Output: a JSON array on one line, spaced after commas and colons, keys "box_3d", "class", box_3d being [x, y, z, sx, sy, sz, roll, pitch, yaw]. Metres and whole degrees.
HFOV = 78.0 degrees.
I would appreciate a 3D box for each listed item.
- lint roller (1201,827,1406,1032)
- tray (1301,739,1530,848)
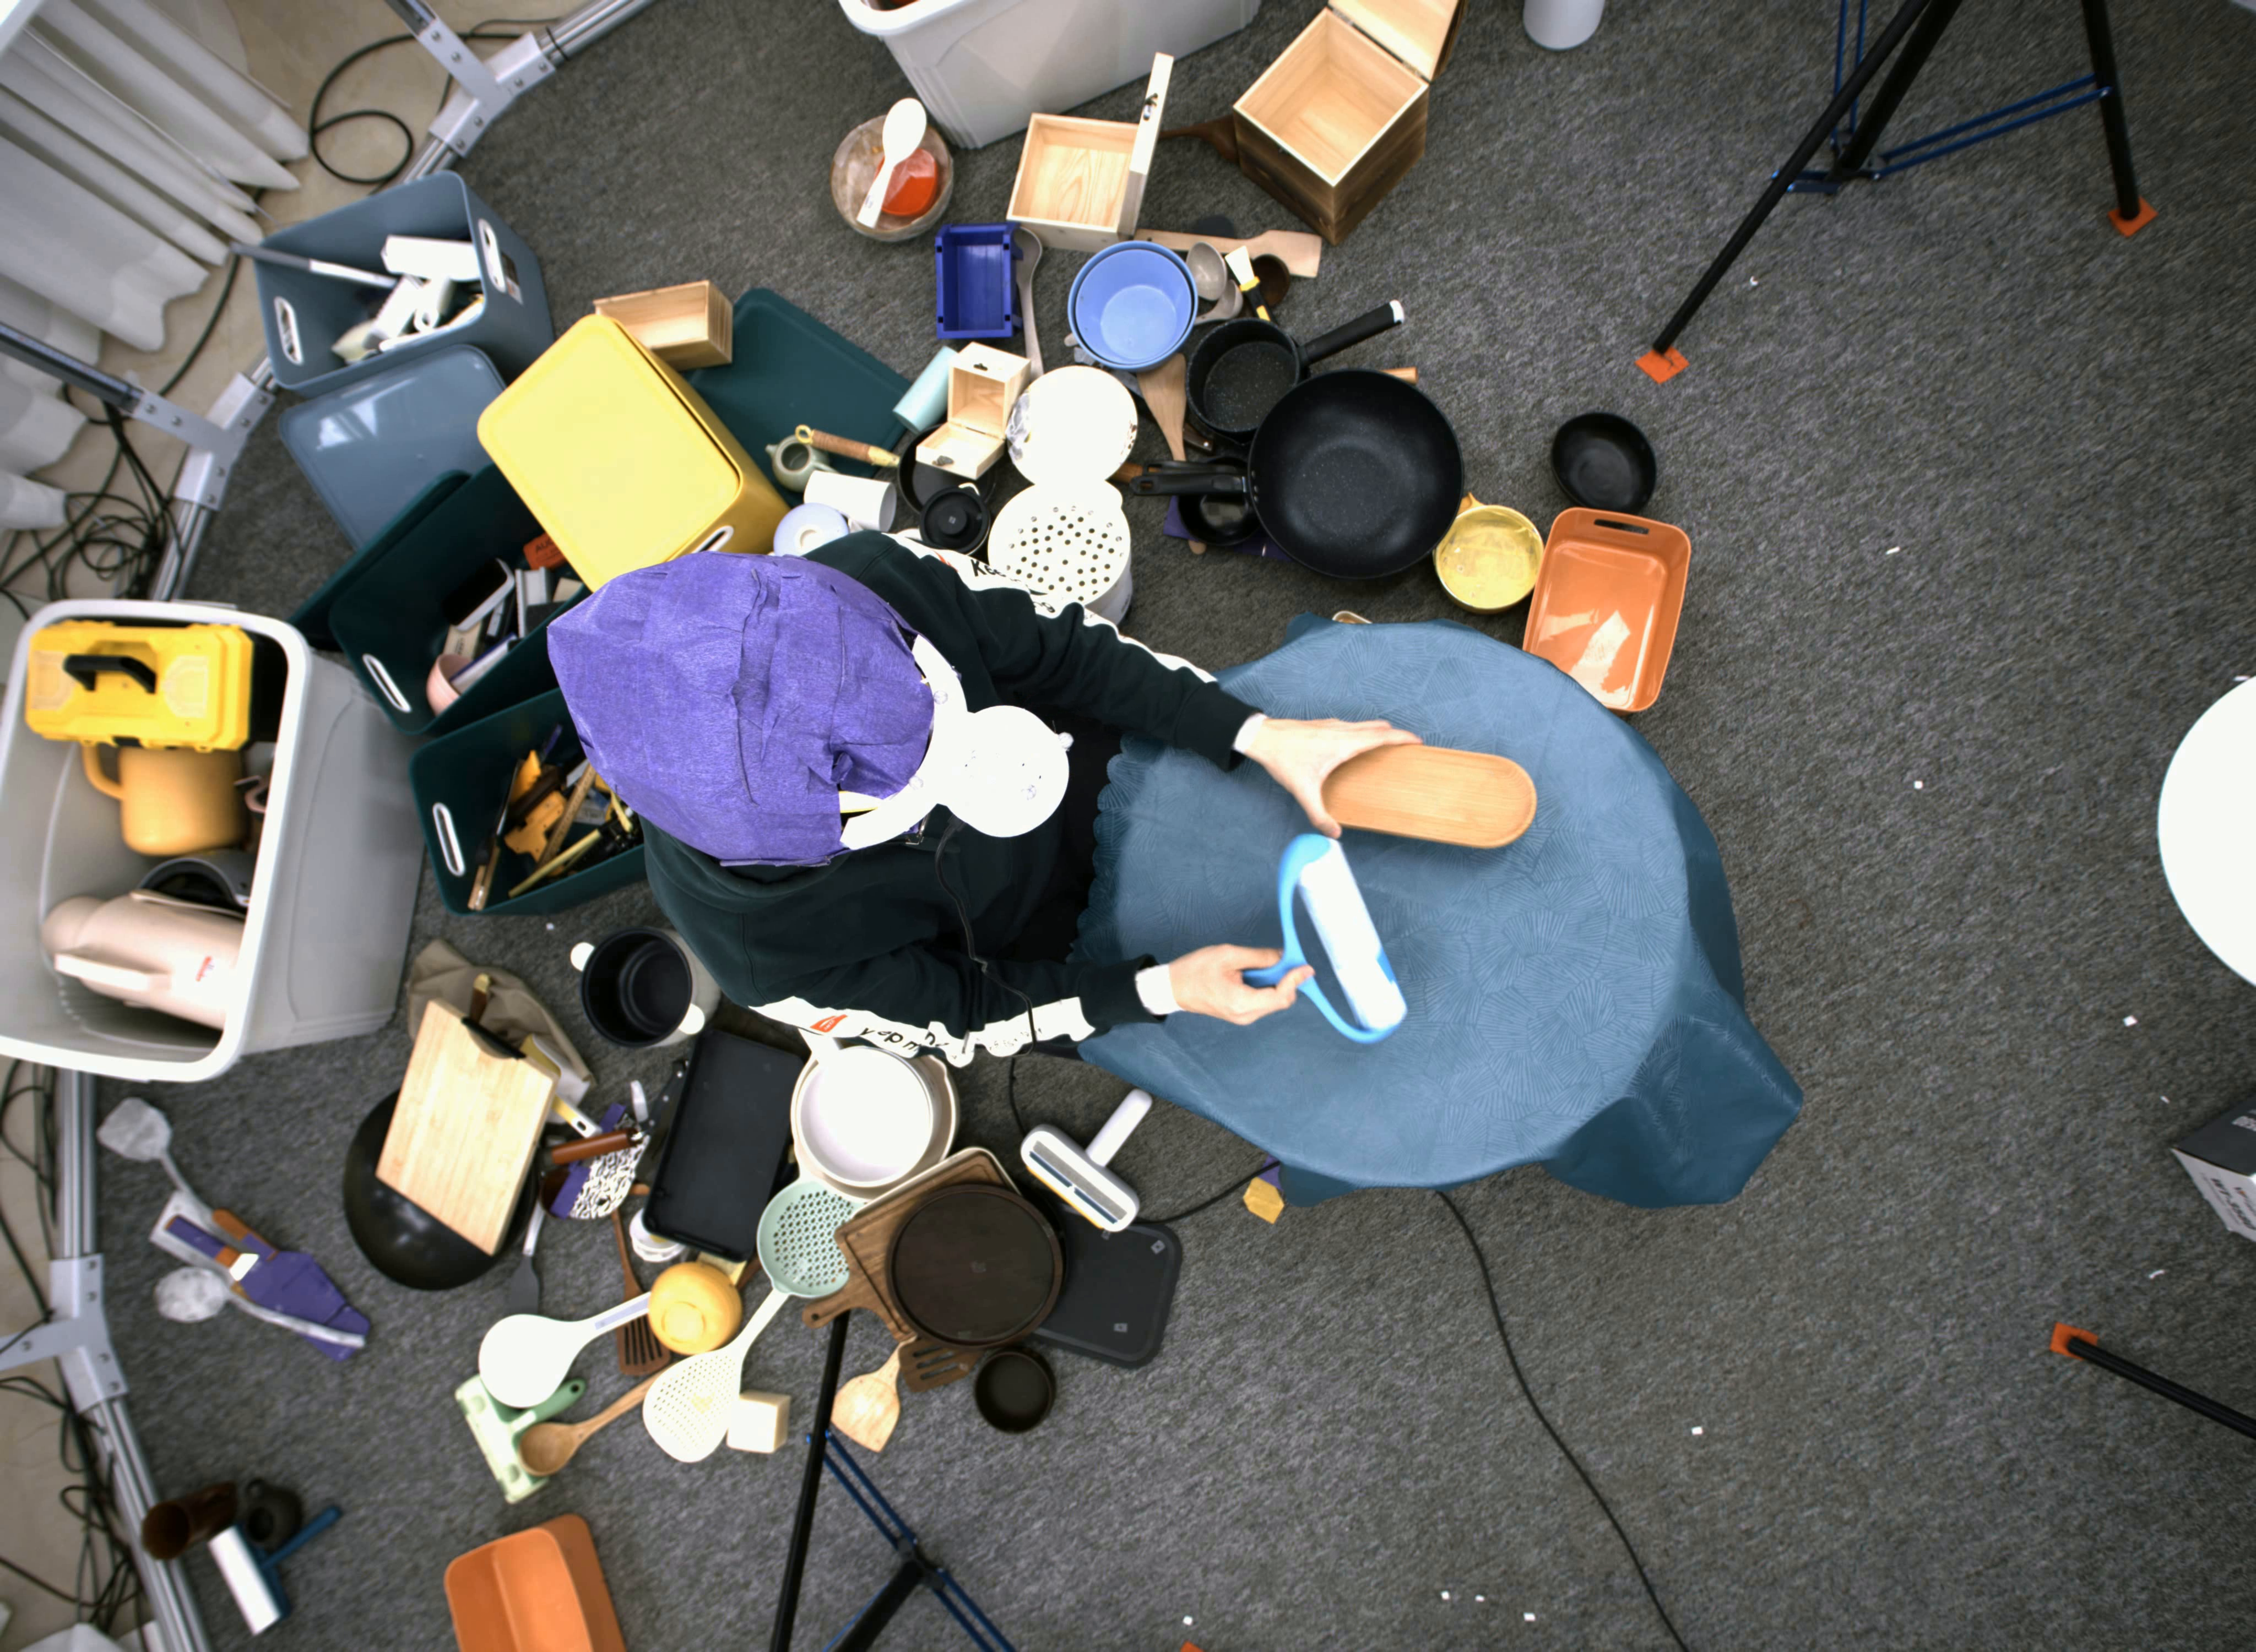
[{"box_3d": [0.157, 0.124, 1.351, 0.182, 0.066, 0.232, -26, 115, 12], "class": "lint roller"}, {"box_3d": [0.290, -0.034, 1.399, 0.232, 0.020, 0.100, 7, 69, 19], "class": "tray"}]
